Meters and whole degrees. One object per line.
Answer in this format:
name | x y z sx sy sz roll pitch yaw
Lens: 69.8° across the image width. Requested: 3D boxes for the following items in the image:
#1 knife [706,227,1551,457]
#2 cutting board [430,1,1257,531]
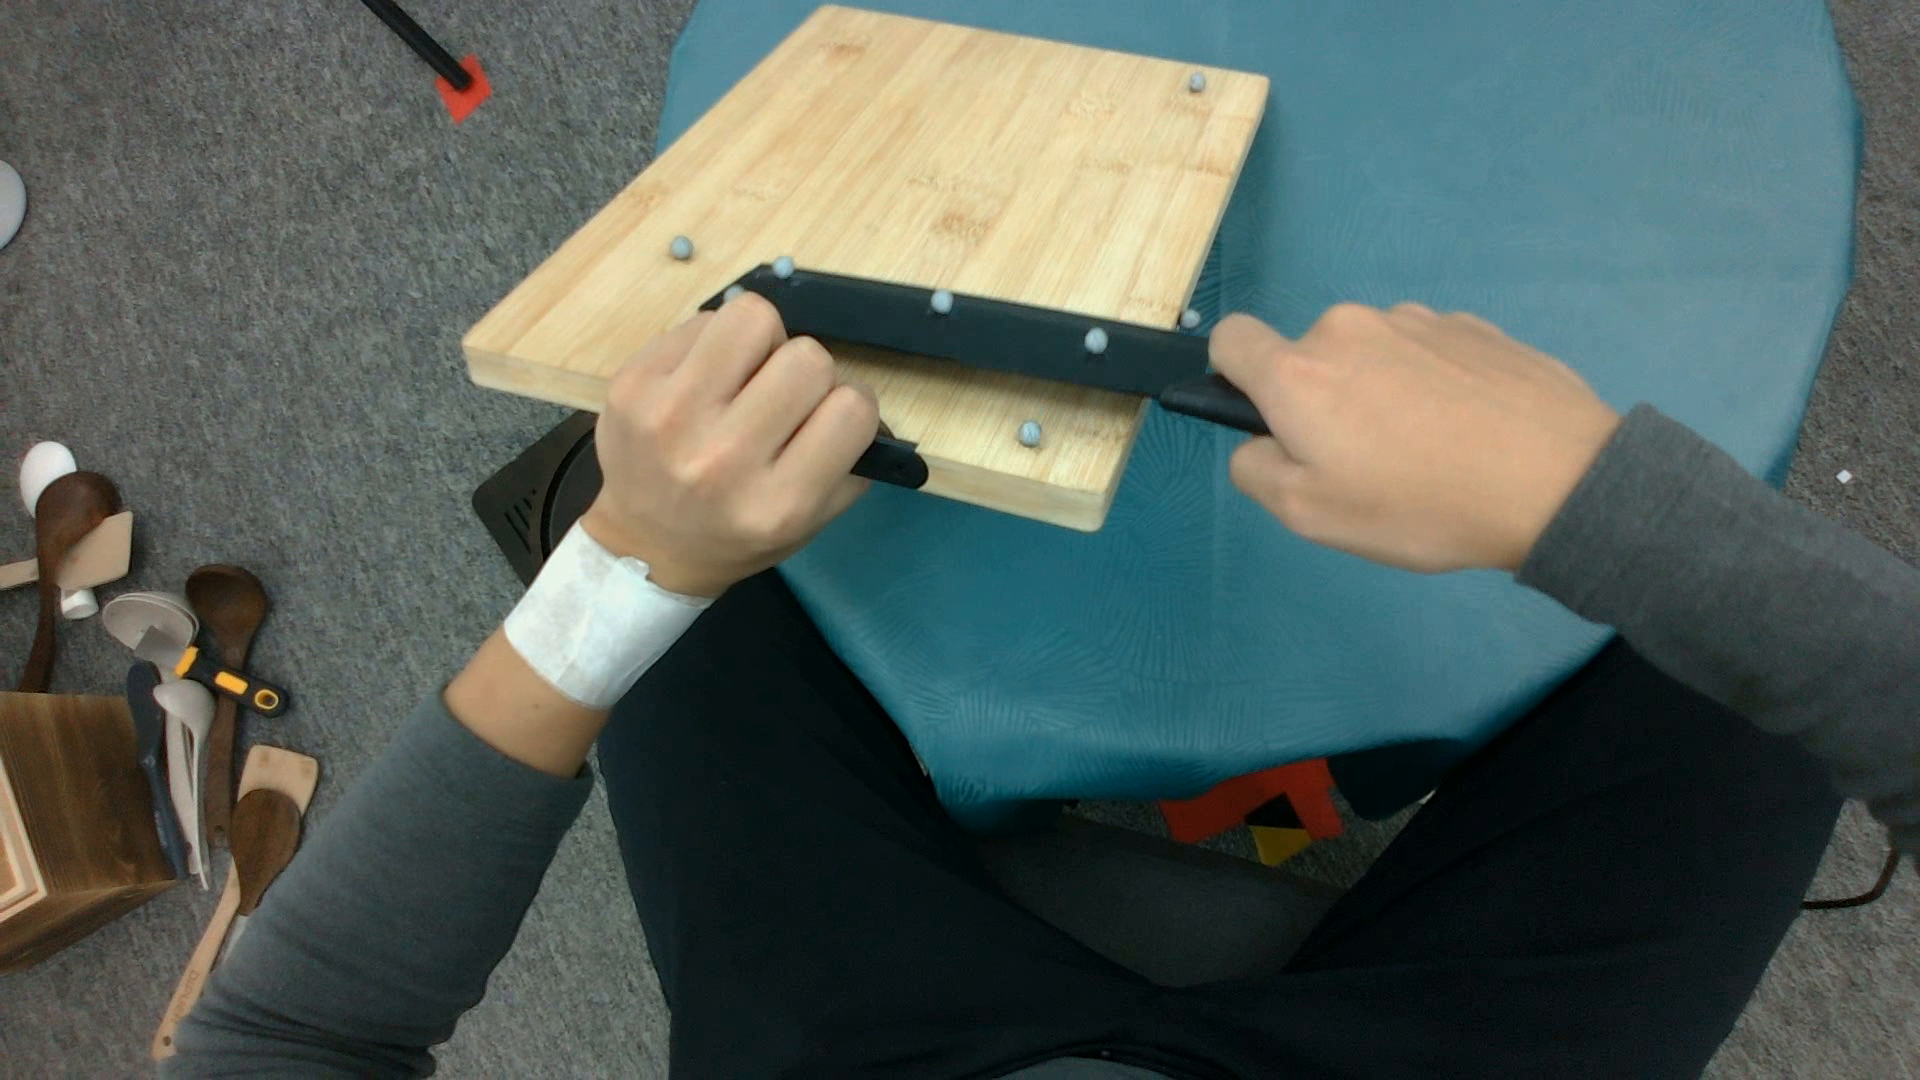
knife | 0.055 -0.077 0.497 0.302 0.081 0.021 16 123 15
cutting board | -0.021 -0.145 0.594 0.250 0.023 0.350 13 43 11
